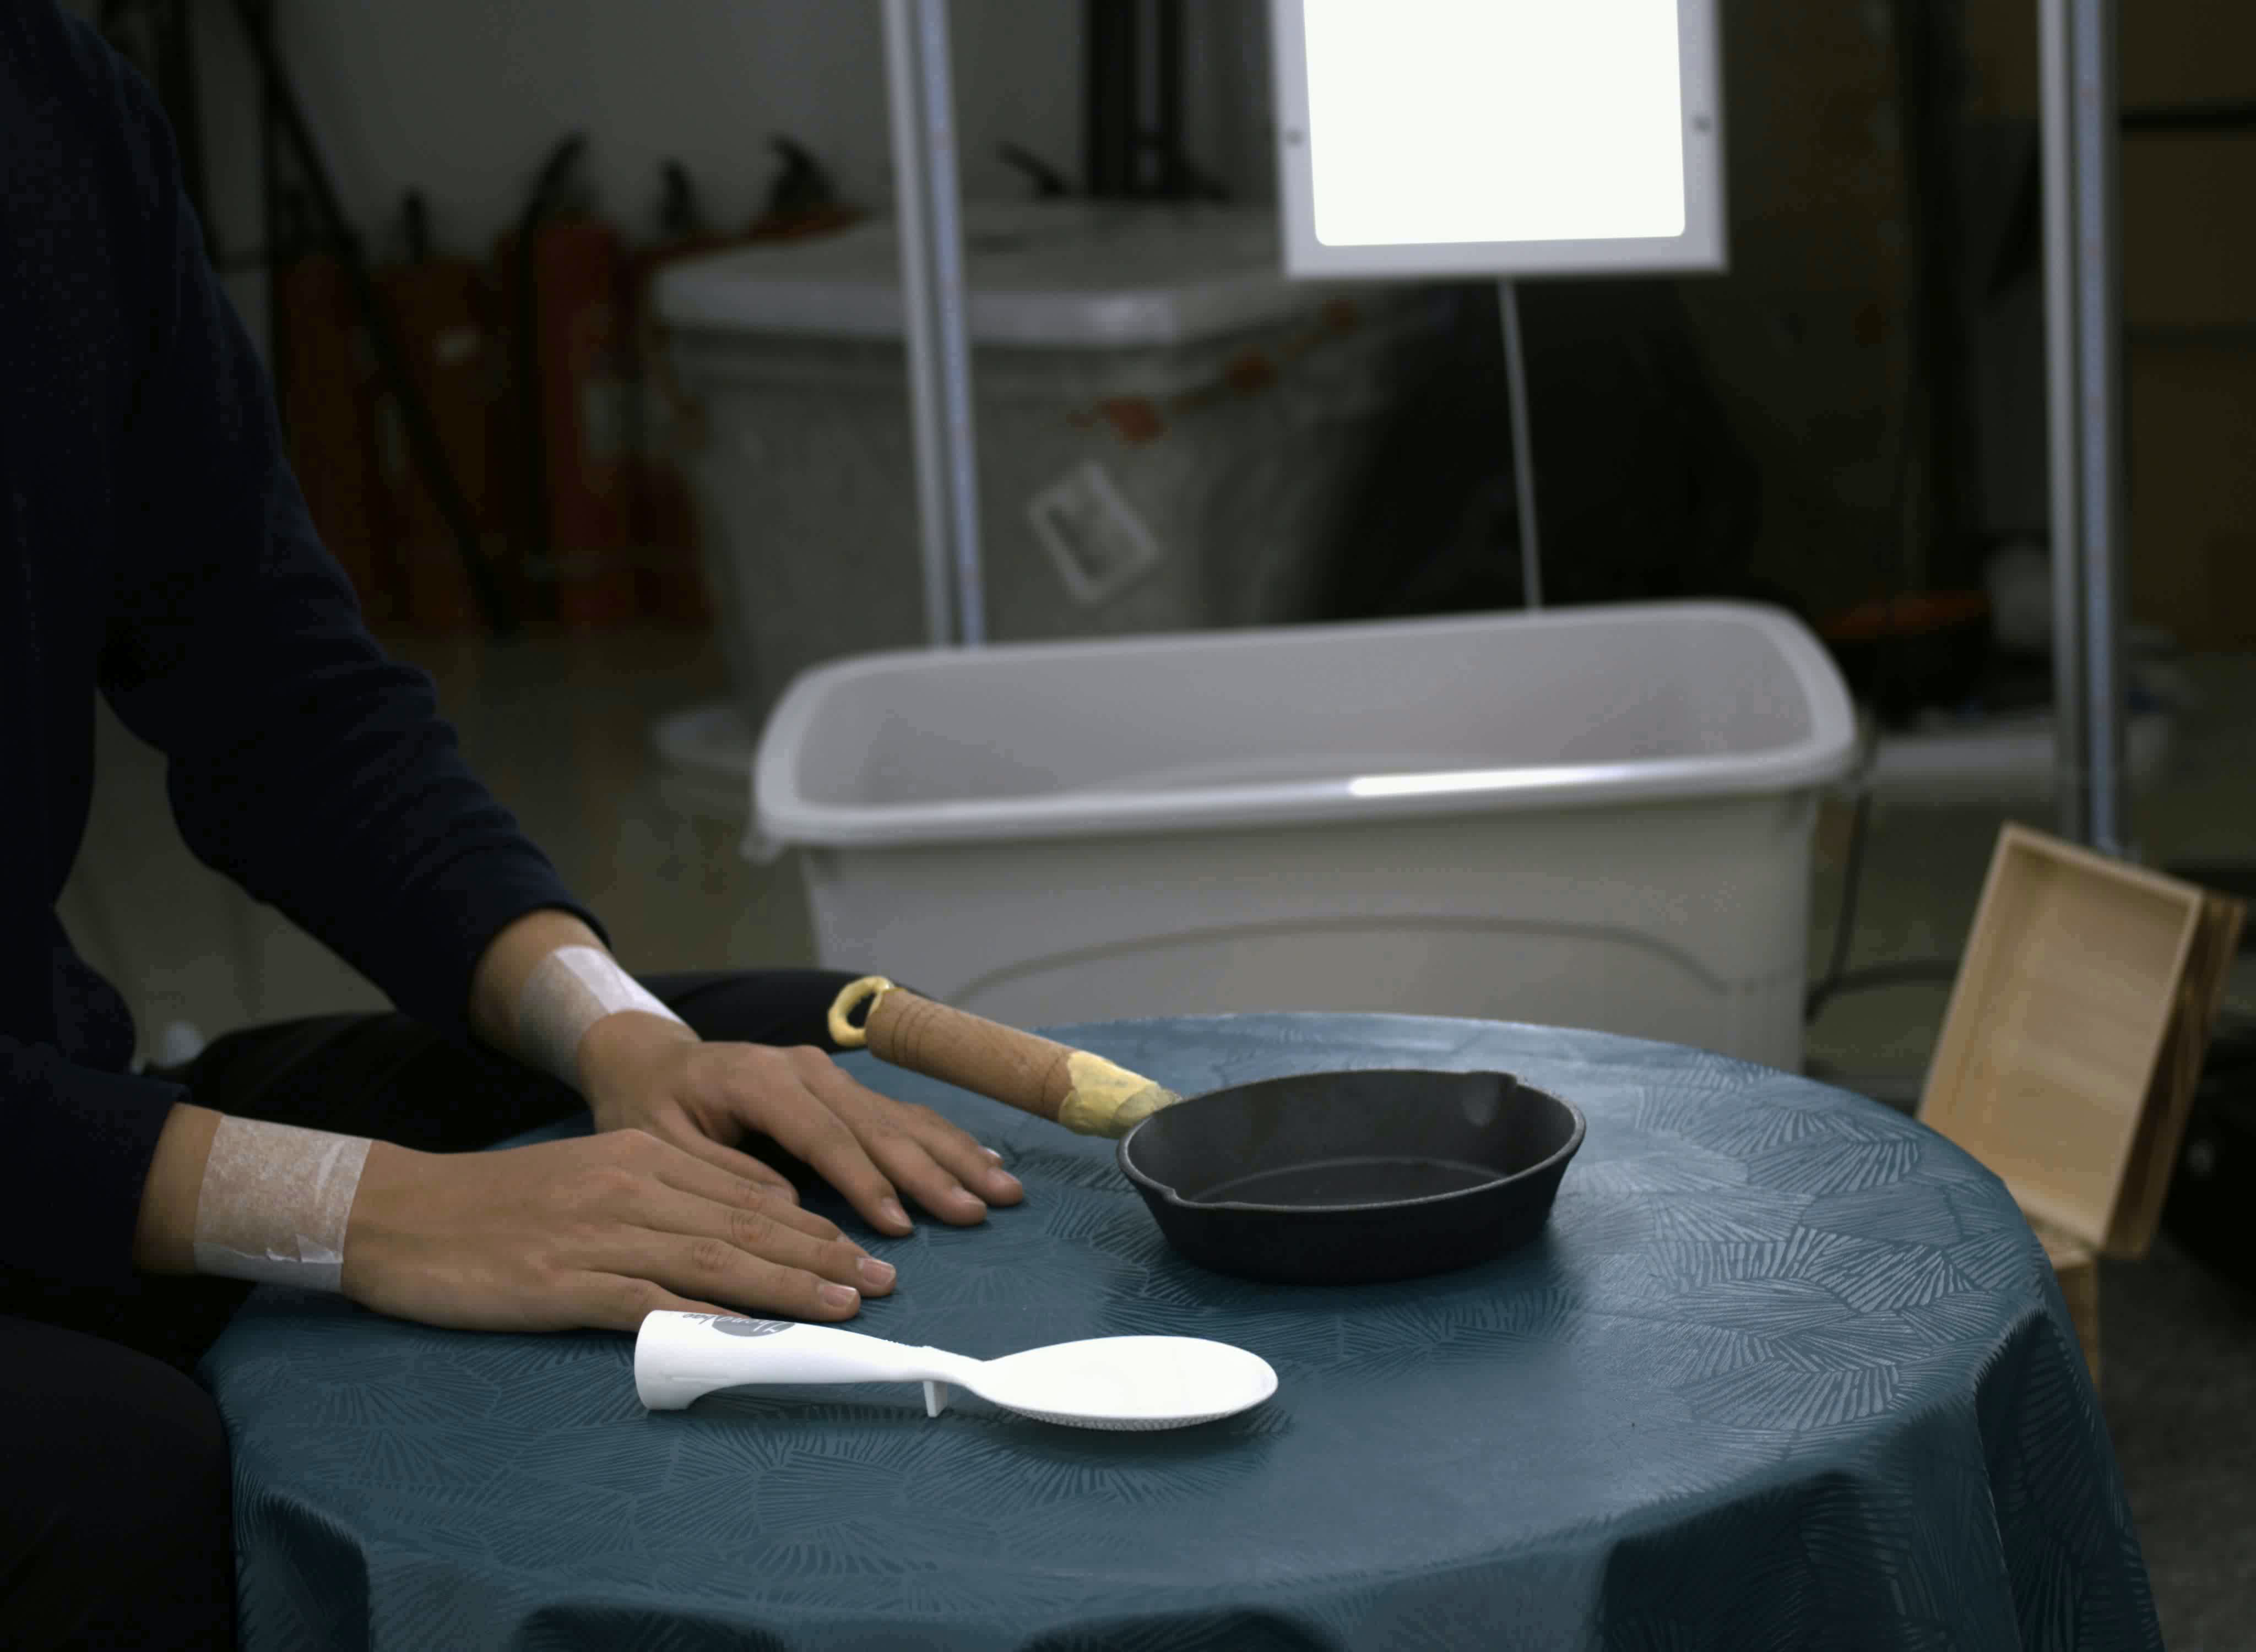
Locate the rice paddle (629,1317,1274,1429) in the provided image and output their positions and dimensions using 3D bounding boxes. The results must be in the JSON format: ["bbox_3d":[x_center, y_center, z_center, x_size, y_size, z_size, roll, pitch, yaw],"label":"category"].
[{"bbox_3d":[-0.054,0.167,1.693,0.208,0.029,0.067,-1,16,19],"label":"rice paddle"}]

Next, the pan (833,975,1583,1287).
[{"bbox_3d":[0.015,0.100,1.895,0.164,0.050,0.331,-18,20,-41],"label":"pan"}]
